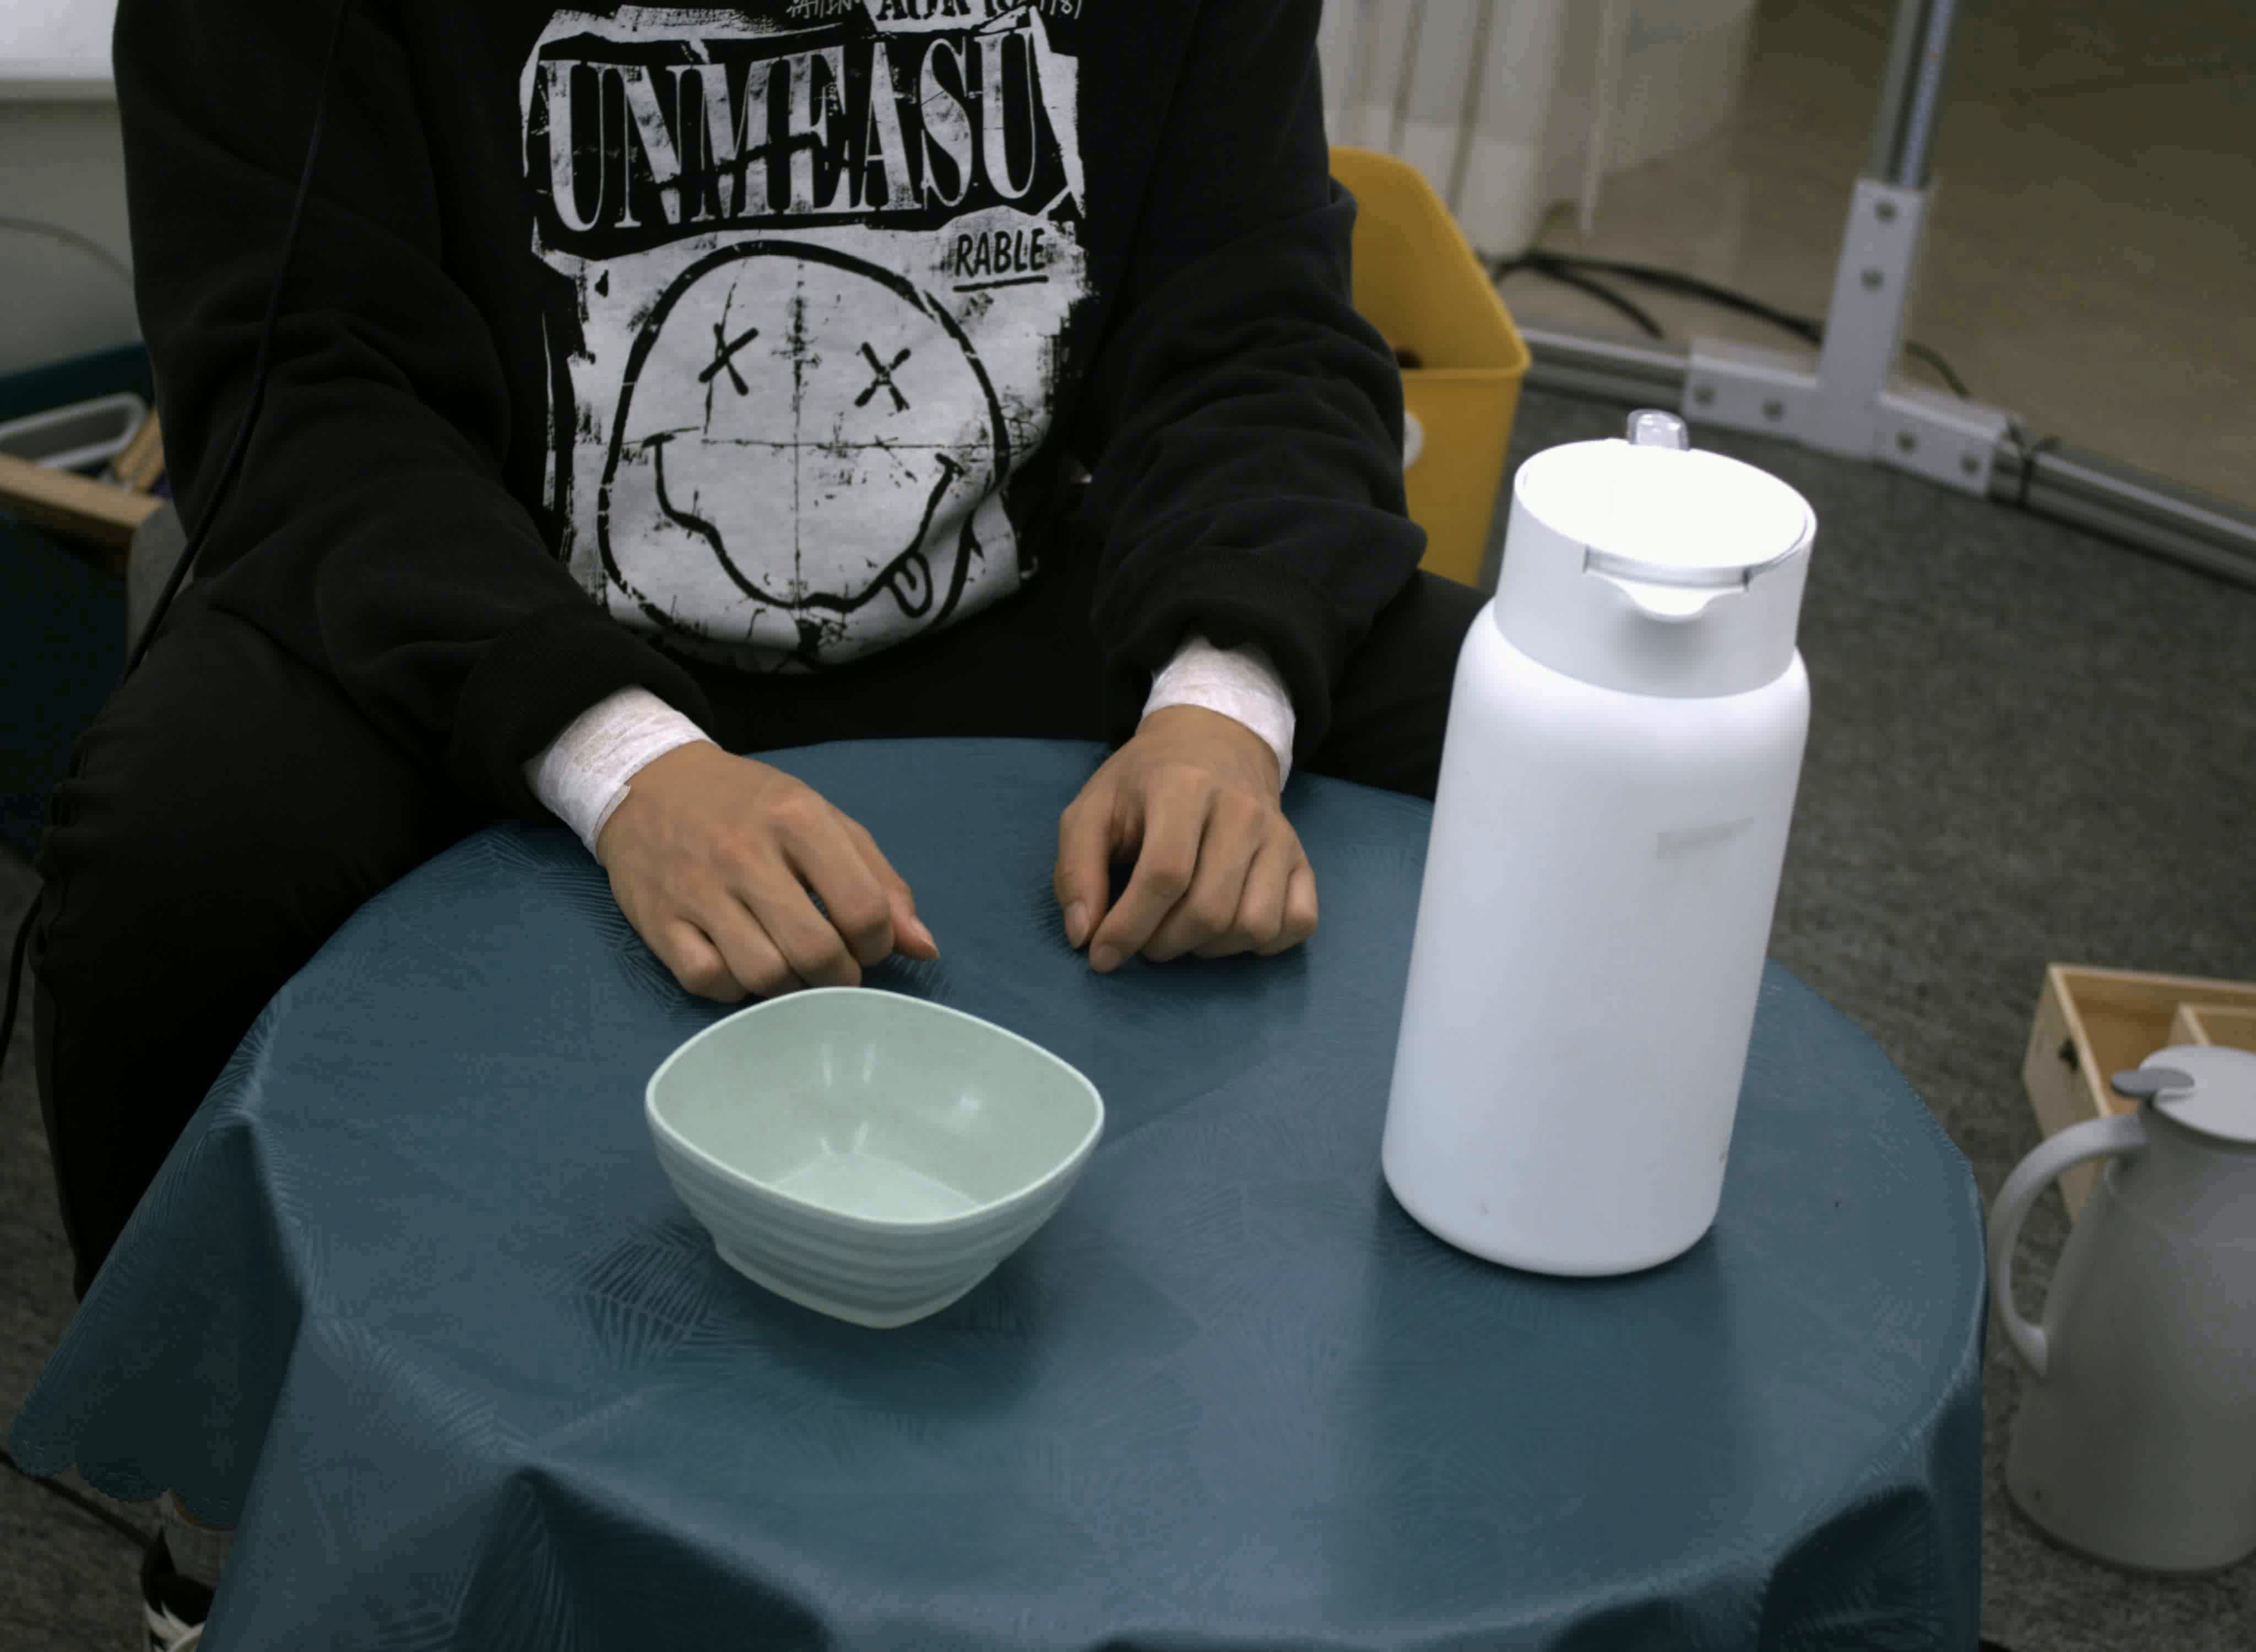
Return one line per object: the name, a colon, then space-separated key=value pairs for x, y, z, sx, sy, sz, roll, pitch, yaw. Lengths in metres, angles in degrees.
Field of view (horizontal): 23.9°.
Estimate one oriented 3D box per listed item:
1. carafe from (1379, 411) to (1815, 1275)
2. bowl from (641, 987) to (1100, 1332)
carafe: x=0.157 y=0.002 z=1.786 sx=0.123 sy=0.268 sz=0.174 roll=4 pitch=27 yaw=-1
bowl: x=-0.086 y=0.115 z=1.744 sx=0.151 sy=0.058 sz=0.152 roll=6 pitch=27 yaw=-3
